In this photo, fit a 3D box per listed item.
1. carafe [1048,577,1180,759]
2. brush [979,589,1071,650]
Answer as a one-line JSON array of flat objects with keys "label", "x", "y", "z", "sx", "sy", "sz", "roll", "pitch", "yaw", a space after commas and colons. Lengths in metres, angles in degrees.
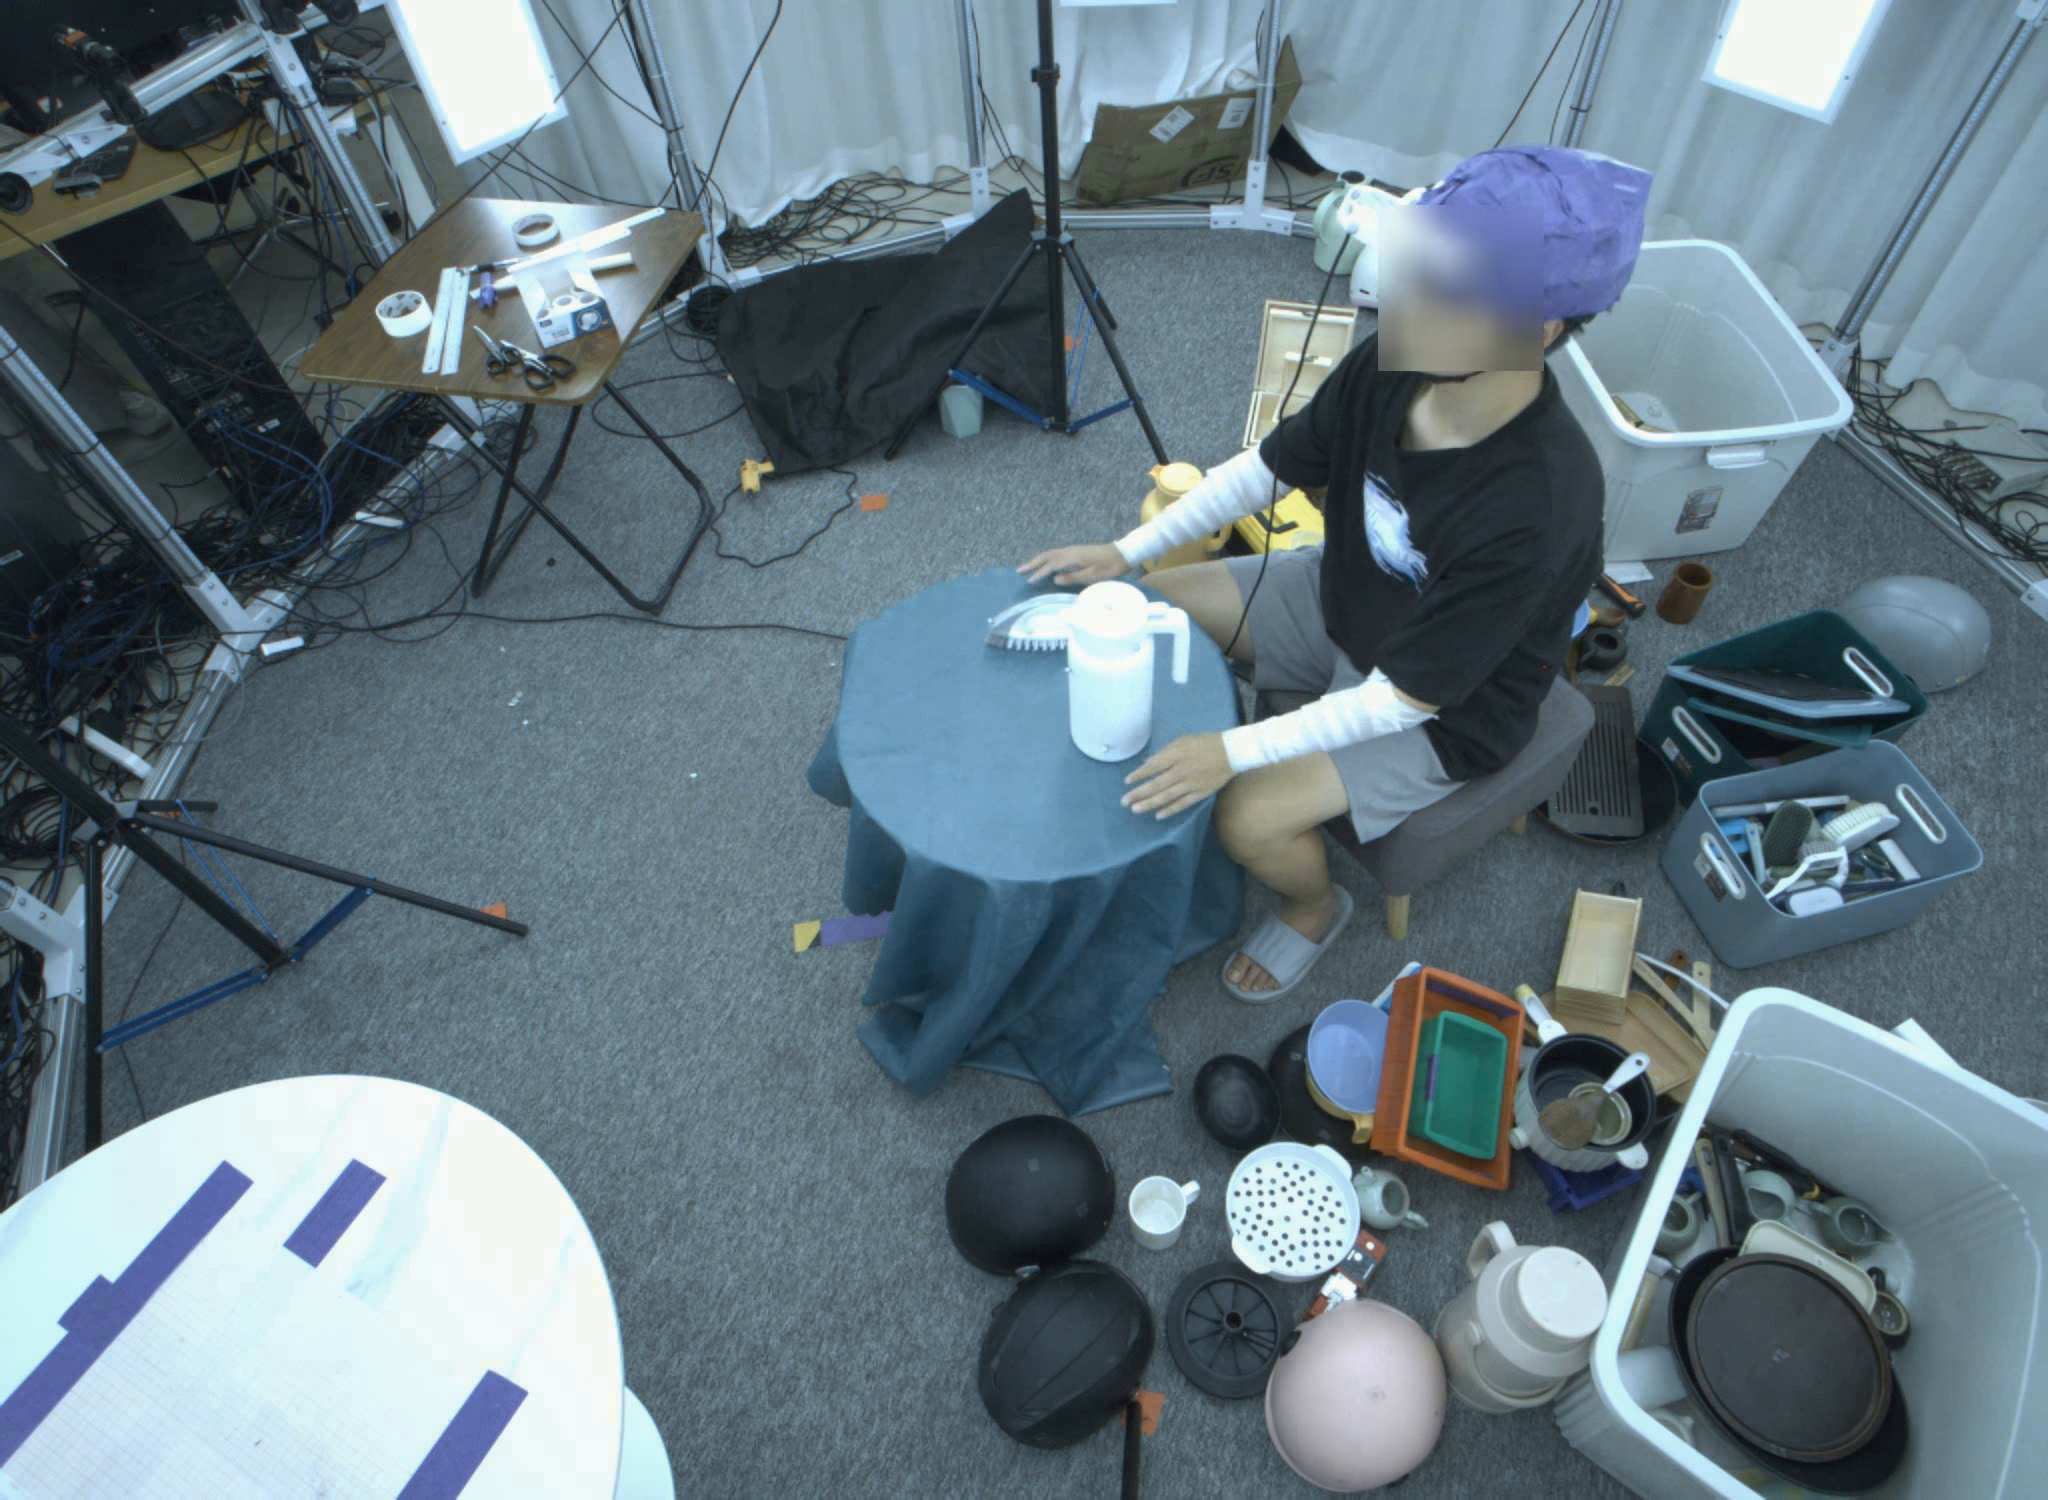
[{"label": "carafe", "x": 0.124, "y": -0.110, "z": 1.688, "sx": 0.173, "sy": 0.272, "sz": 0.122, "roll": -4, "pitch": 52, "yaw": 1}, {"label": "brush", "x": 0.013, "y": -0.200, "z": 1.865, "sx": 0.175, "sy": 0.095, "sz": 0.060, "roll": -7, "pitch": 52, "yaw": 0}]
